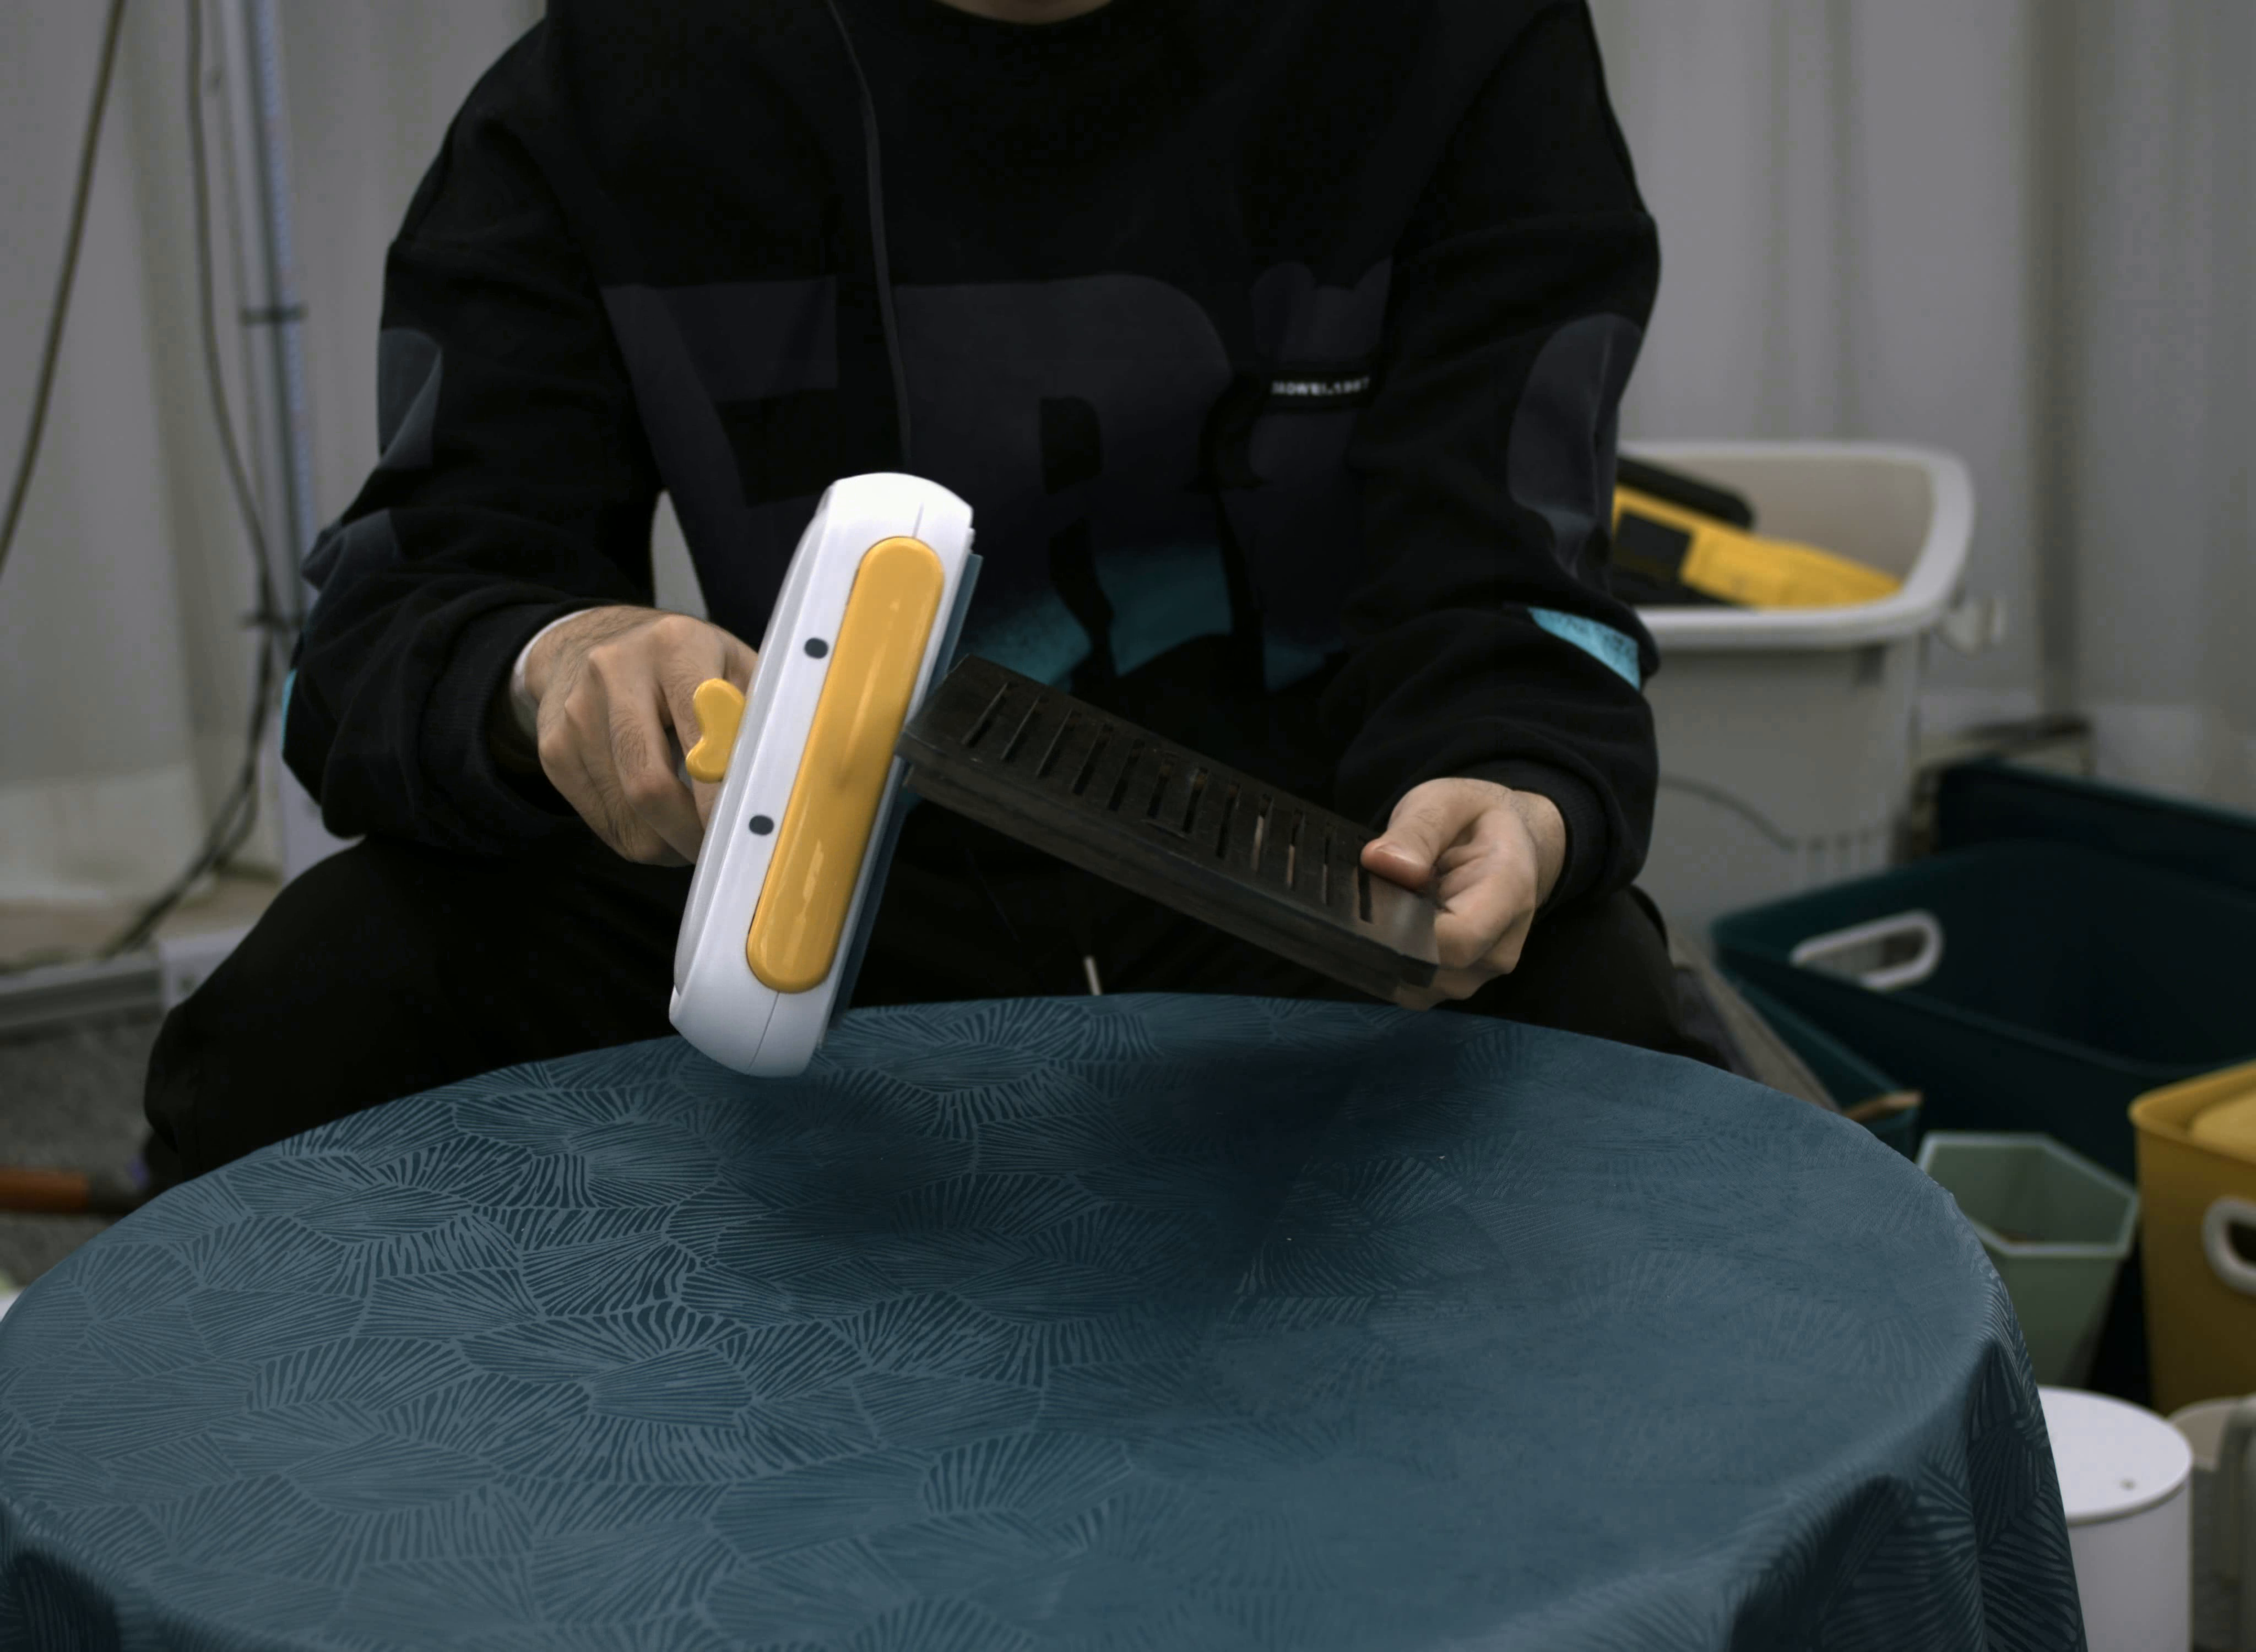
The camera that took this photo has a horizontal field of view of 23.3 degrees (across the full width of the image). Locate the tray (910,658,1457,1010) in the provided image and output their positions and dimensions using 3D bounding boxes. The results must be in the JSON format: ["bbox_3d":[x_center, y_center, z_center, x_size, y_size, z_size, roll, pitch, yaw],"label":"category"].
[{"bbox_3d":[0.018,0.000,1.704,0.170,0.018,0.306,24,6,-1],"label":"tray"}]

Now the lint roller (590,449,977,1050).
[{"bbox_3d":[-0.120,-0.018,1.749,0.073,0.194,0.192,16,-15,-17],"label":"lint roller"}]
